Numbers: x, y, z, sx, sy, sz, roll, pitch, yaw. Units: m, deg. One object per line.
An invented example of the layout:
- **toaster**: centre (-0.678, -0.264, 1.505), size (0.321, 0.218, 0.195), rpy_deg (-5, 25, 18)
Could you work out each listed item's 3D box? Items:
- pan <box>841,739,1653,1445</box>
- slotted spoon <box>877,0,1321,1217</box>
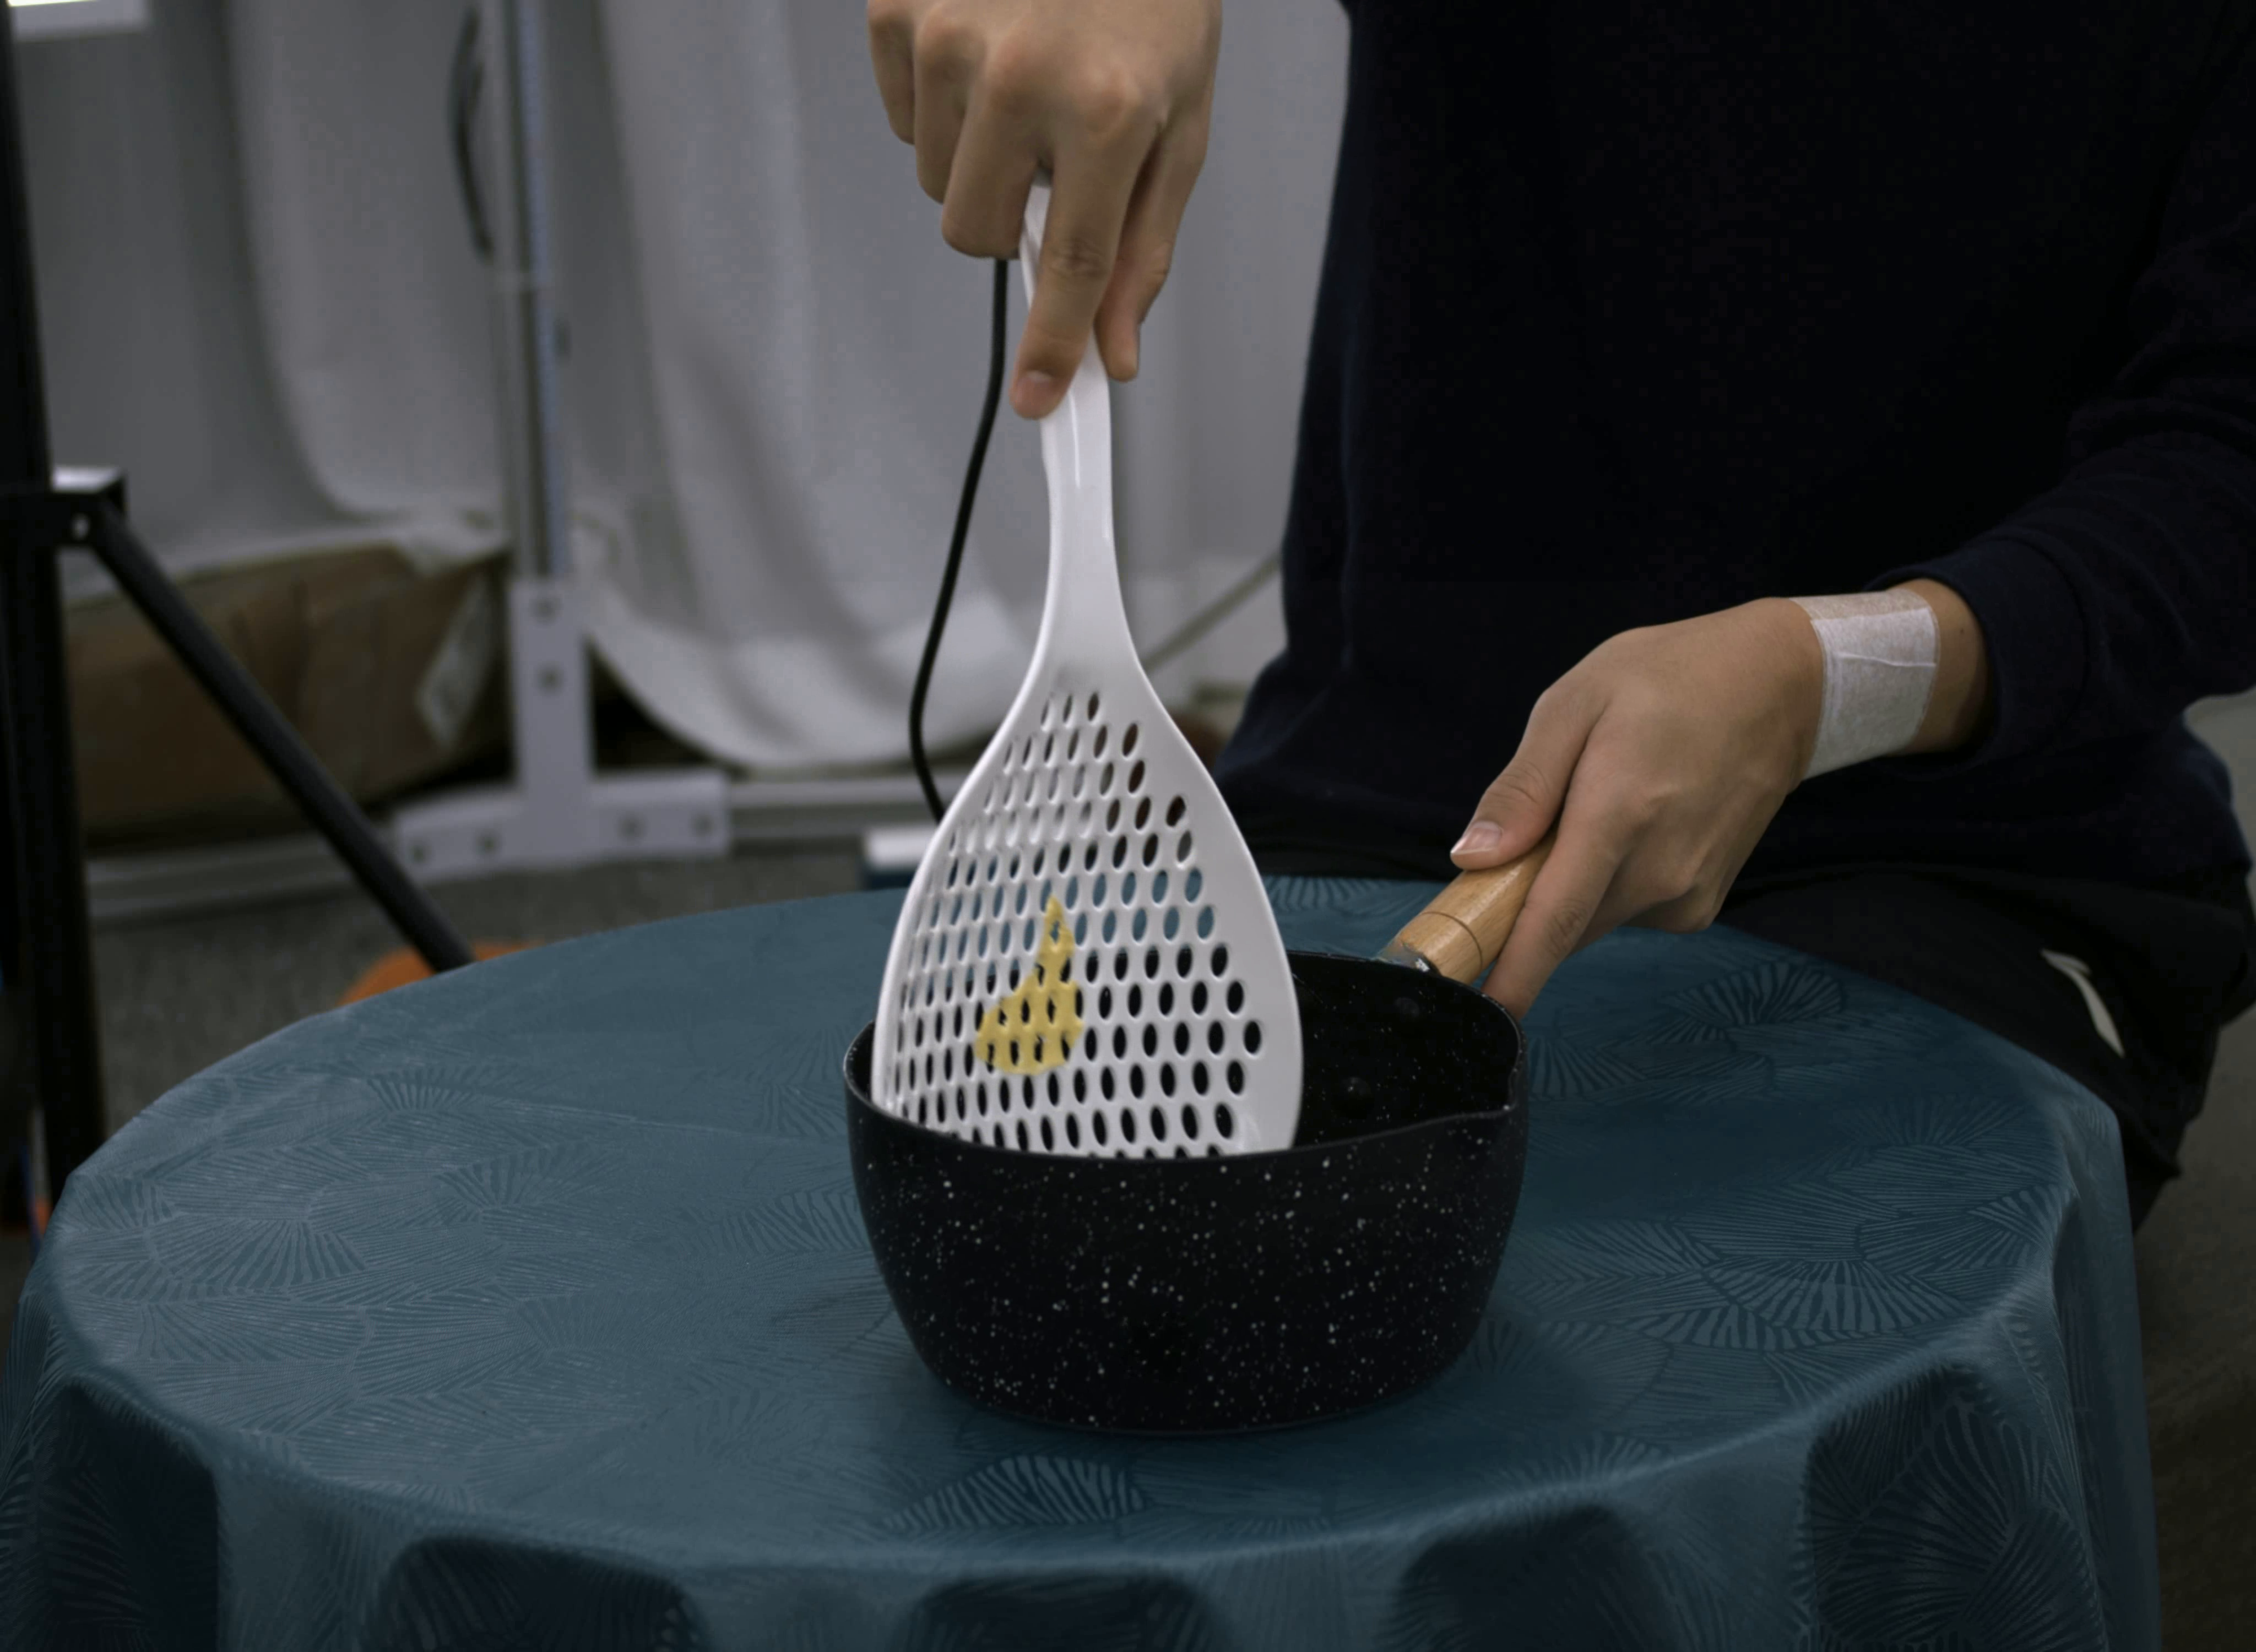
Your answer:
- **pan**: centre (0.058, 0.069, 1.489), size (0.211, 0.108, 0.336), rpy_deg (6, 19, 32)
- **slotted spoon**: centre (-0.018, -0.044, 1.413), size (0.134, 0.348, 0.051), rpy_deg (-7, 13, -28)
